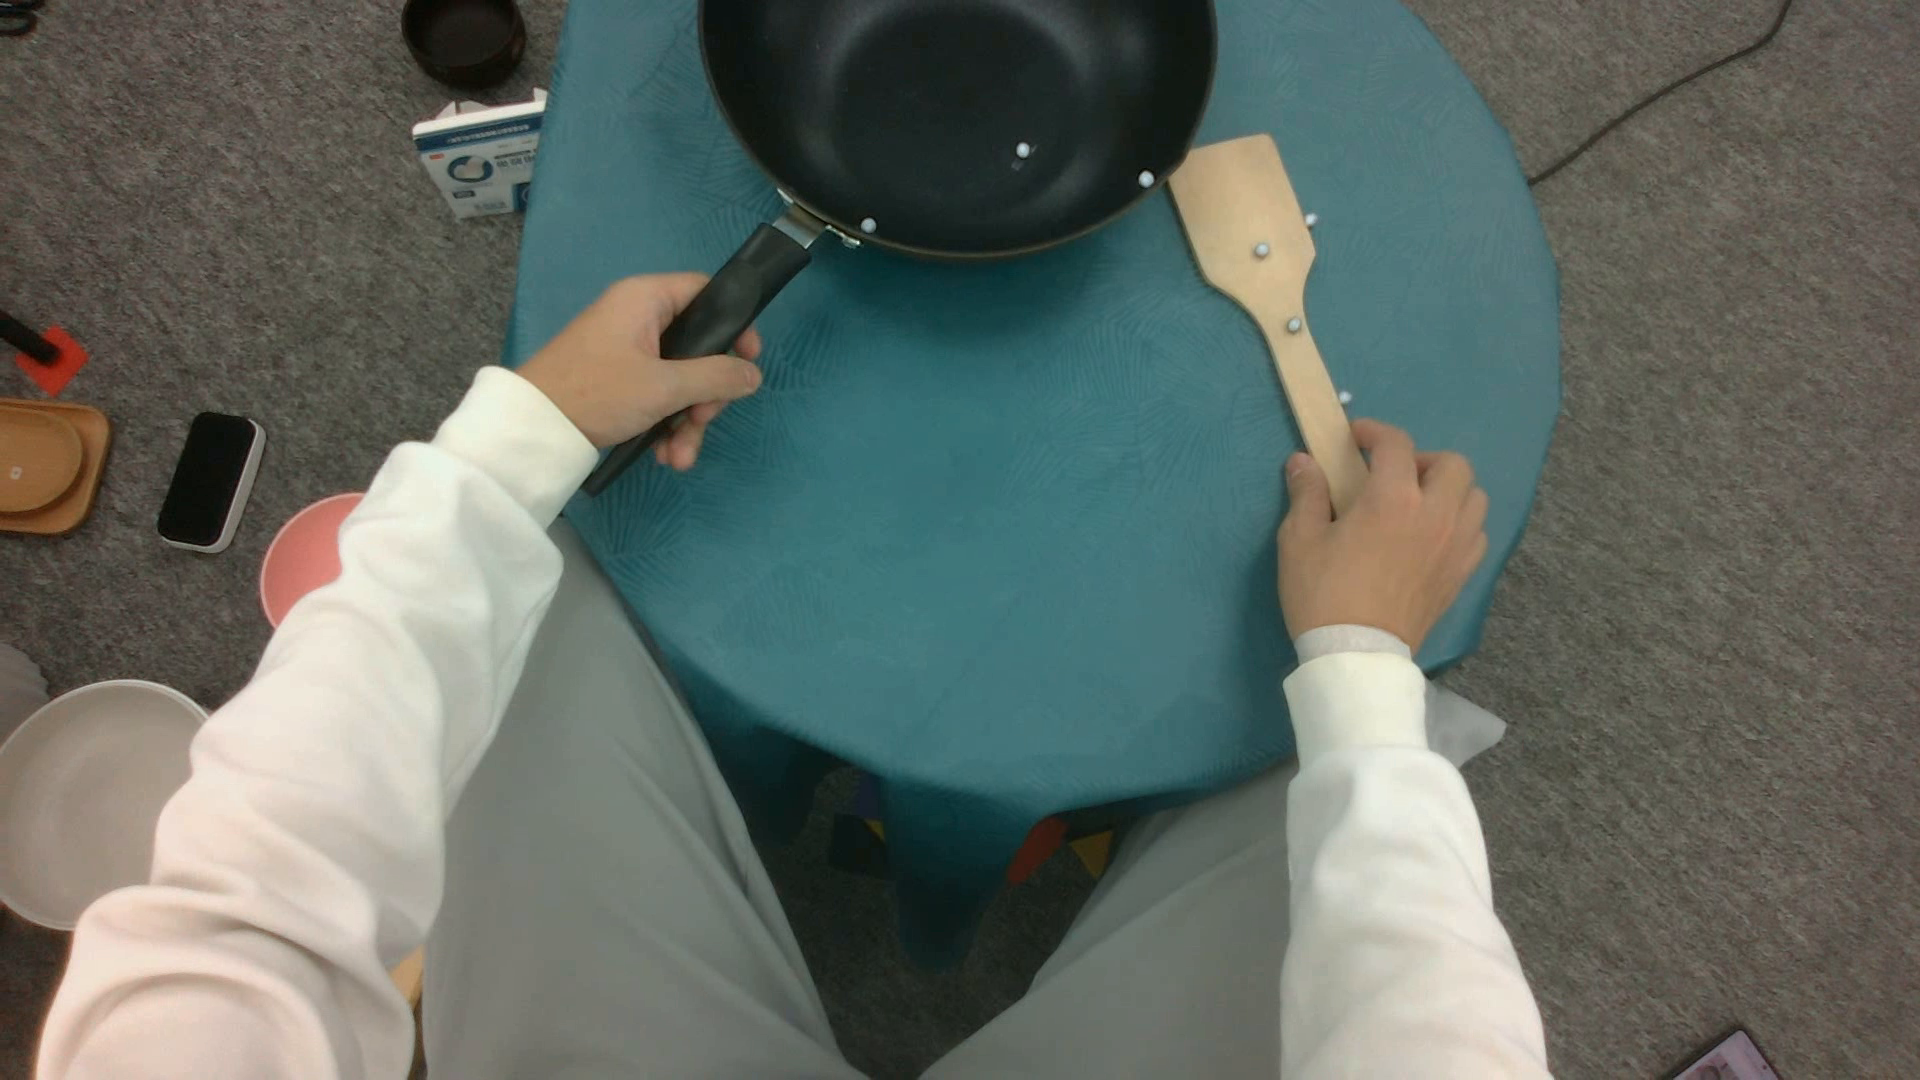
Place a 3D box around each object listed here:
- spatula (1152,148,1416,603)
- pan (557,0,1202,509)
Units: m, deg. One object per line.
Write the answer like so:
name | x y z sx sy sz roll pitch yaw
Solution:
spatula | 0.193 -0.099 0.791 0.072 0.010 0.293 -17 72 -8
pan | -0.058 -0.192 0.776 0.288 0.086 0.464 33 76 8
